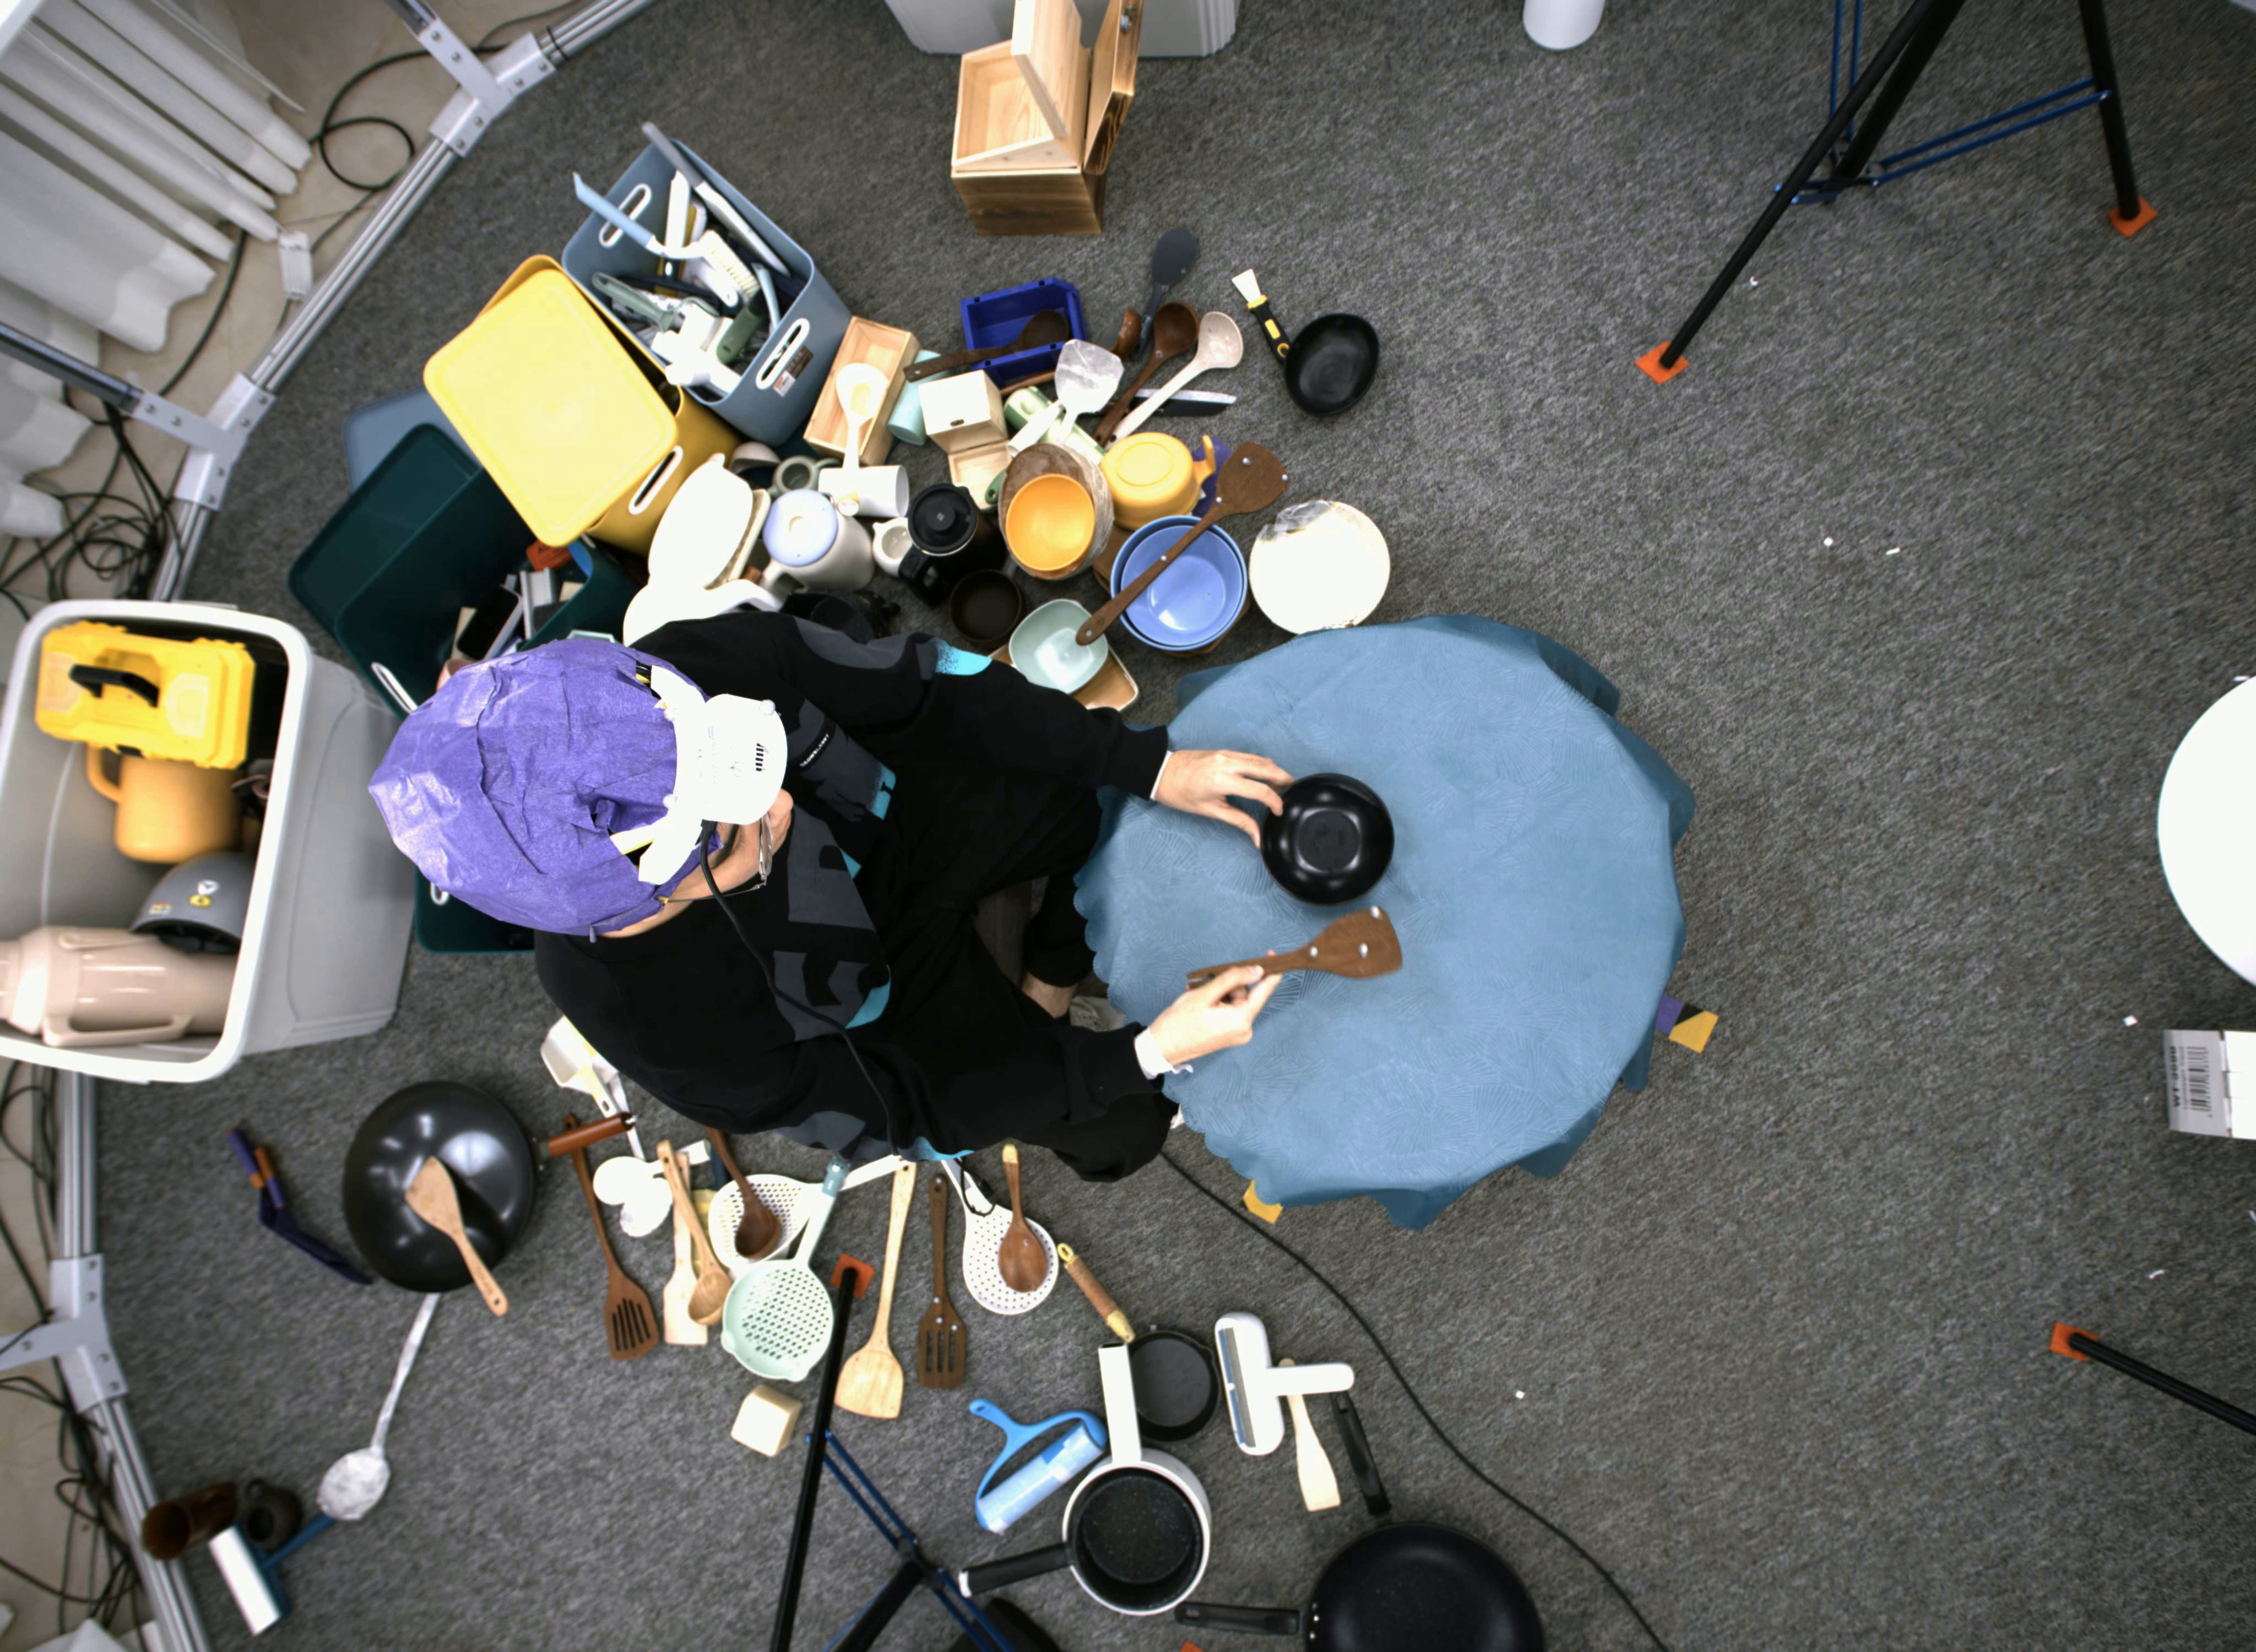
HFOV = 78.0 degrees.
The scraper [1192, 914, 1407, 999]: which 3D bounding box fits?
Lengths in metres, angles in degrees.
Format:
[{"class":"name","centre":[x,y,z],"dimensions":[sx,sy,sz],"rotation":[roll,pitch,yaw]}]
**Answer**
[{"class":"scraper","centre":[0.168,0.138,1.370],"dimensions":[0.211,0.011,0.074],"rotation":[-11,61,0]}]

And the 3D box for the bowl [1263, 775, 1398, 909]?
[{"class":"bowl","centre":[0.212,0.016,1.453],"dimensions":[0.140,0.049,0.140],"rotation":[0,92,9]}]
